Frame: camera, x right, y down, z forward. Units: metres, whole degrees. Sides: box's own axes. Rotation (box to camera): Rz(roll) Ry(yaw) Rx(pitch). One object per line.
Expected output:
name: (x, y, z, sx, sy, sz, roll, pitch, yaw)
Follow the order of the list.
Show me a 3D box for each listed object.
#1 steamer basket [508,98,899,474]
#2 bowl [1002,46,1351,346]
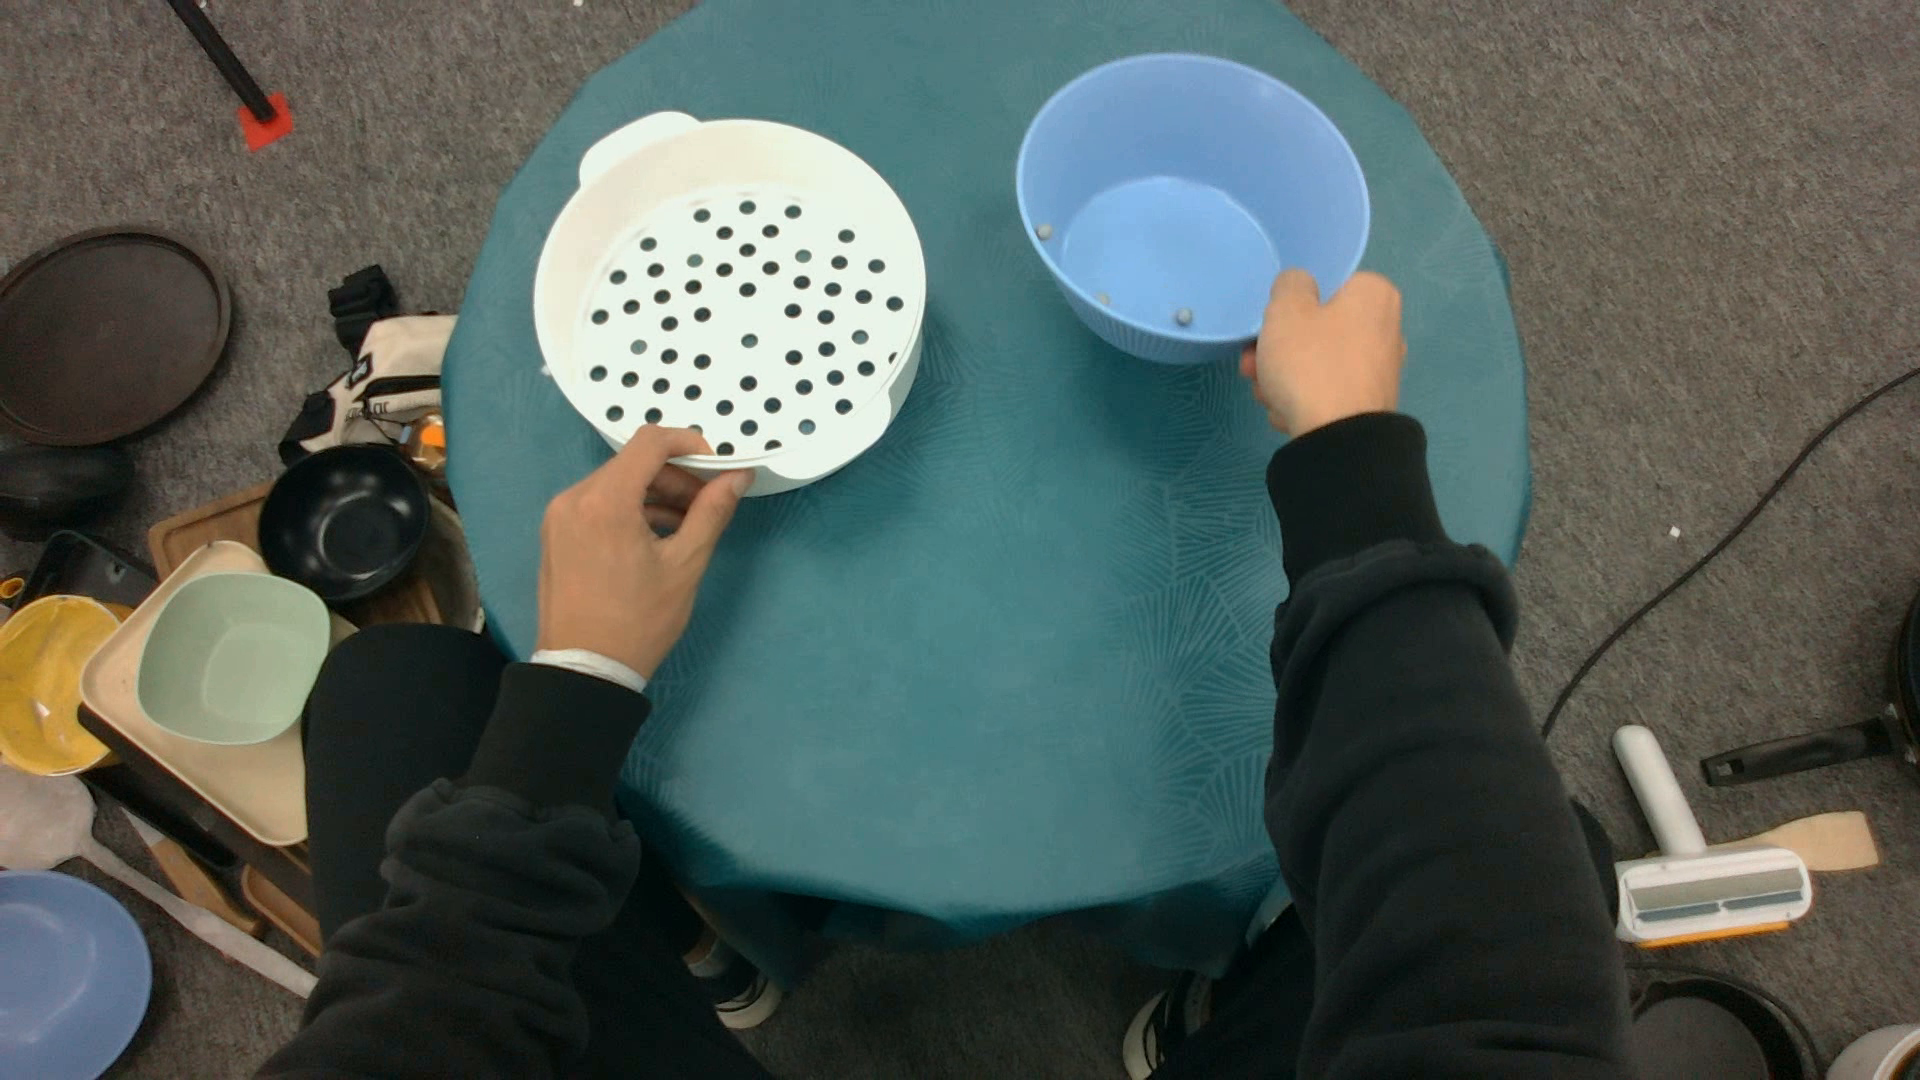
steamer basket: (-0.132, -0.133, 0.736, 0.202, 0.069, 0.231, -32, 72, -11)
bowl: (0.108, -0.168, 0.716, 0.176, 0.070, 0.176, 1, 64, -2)
